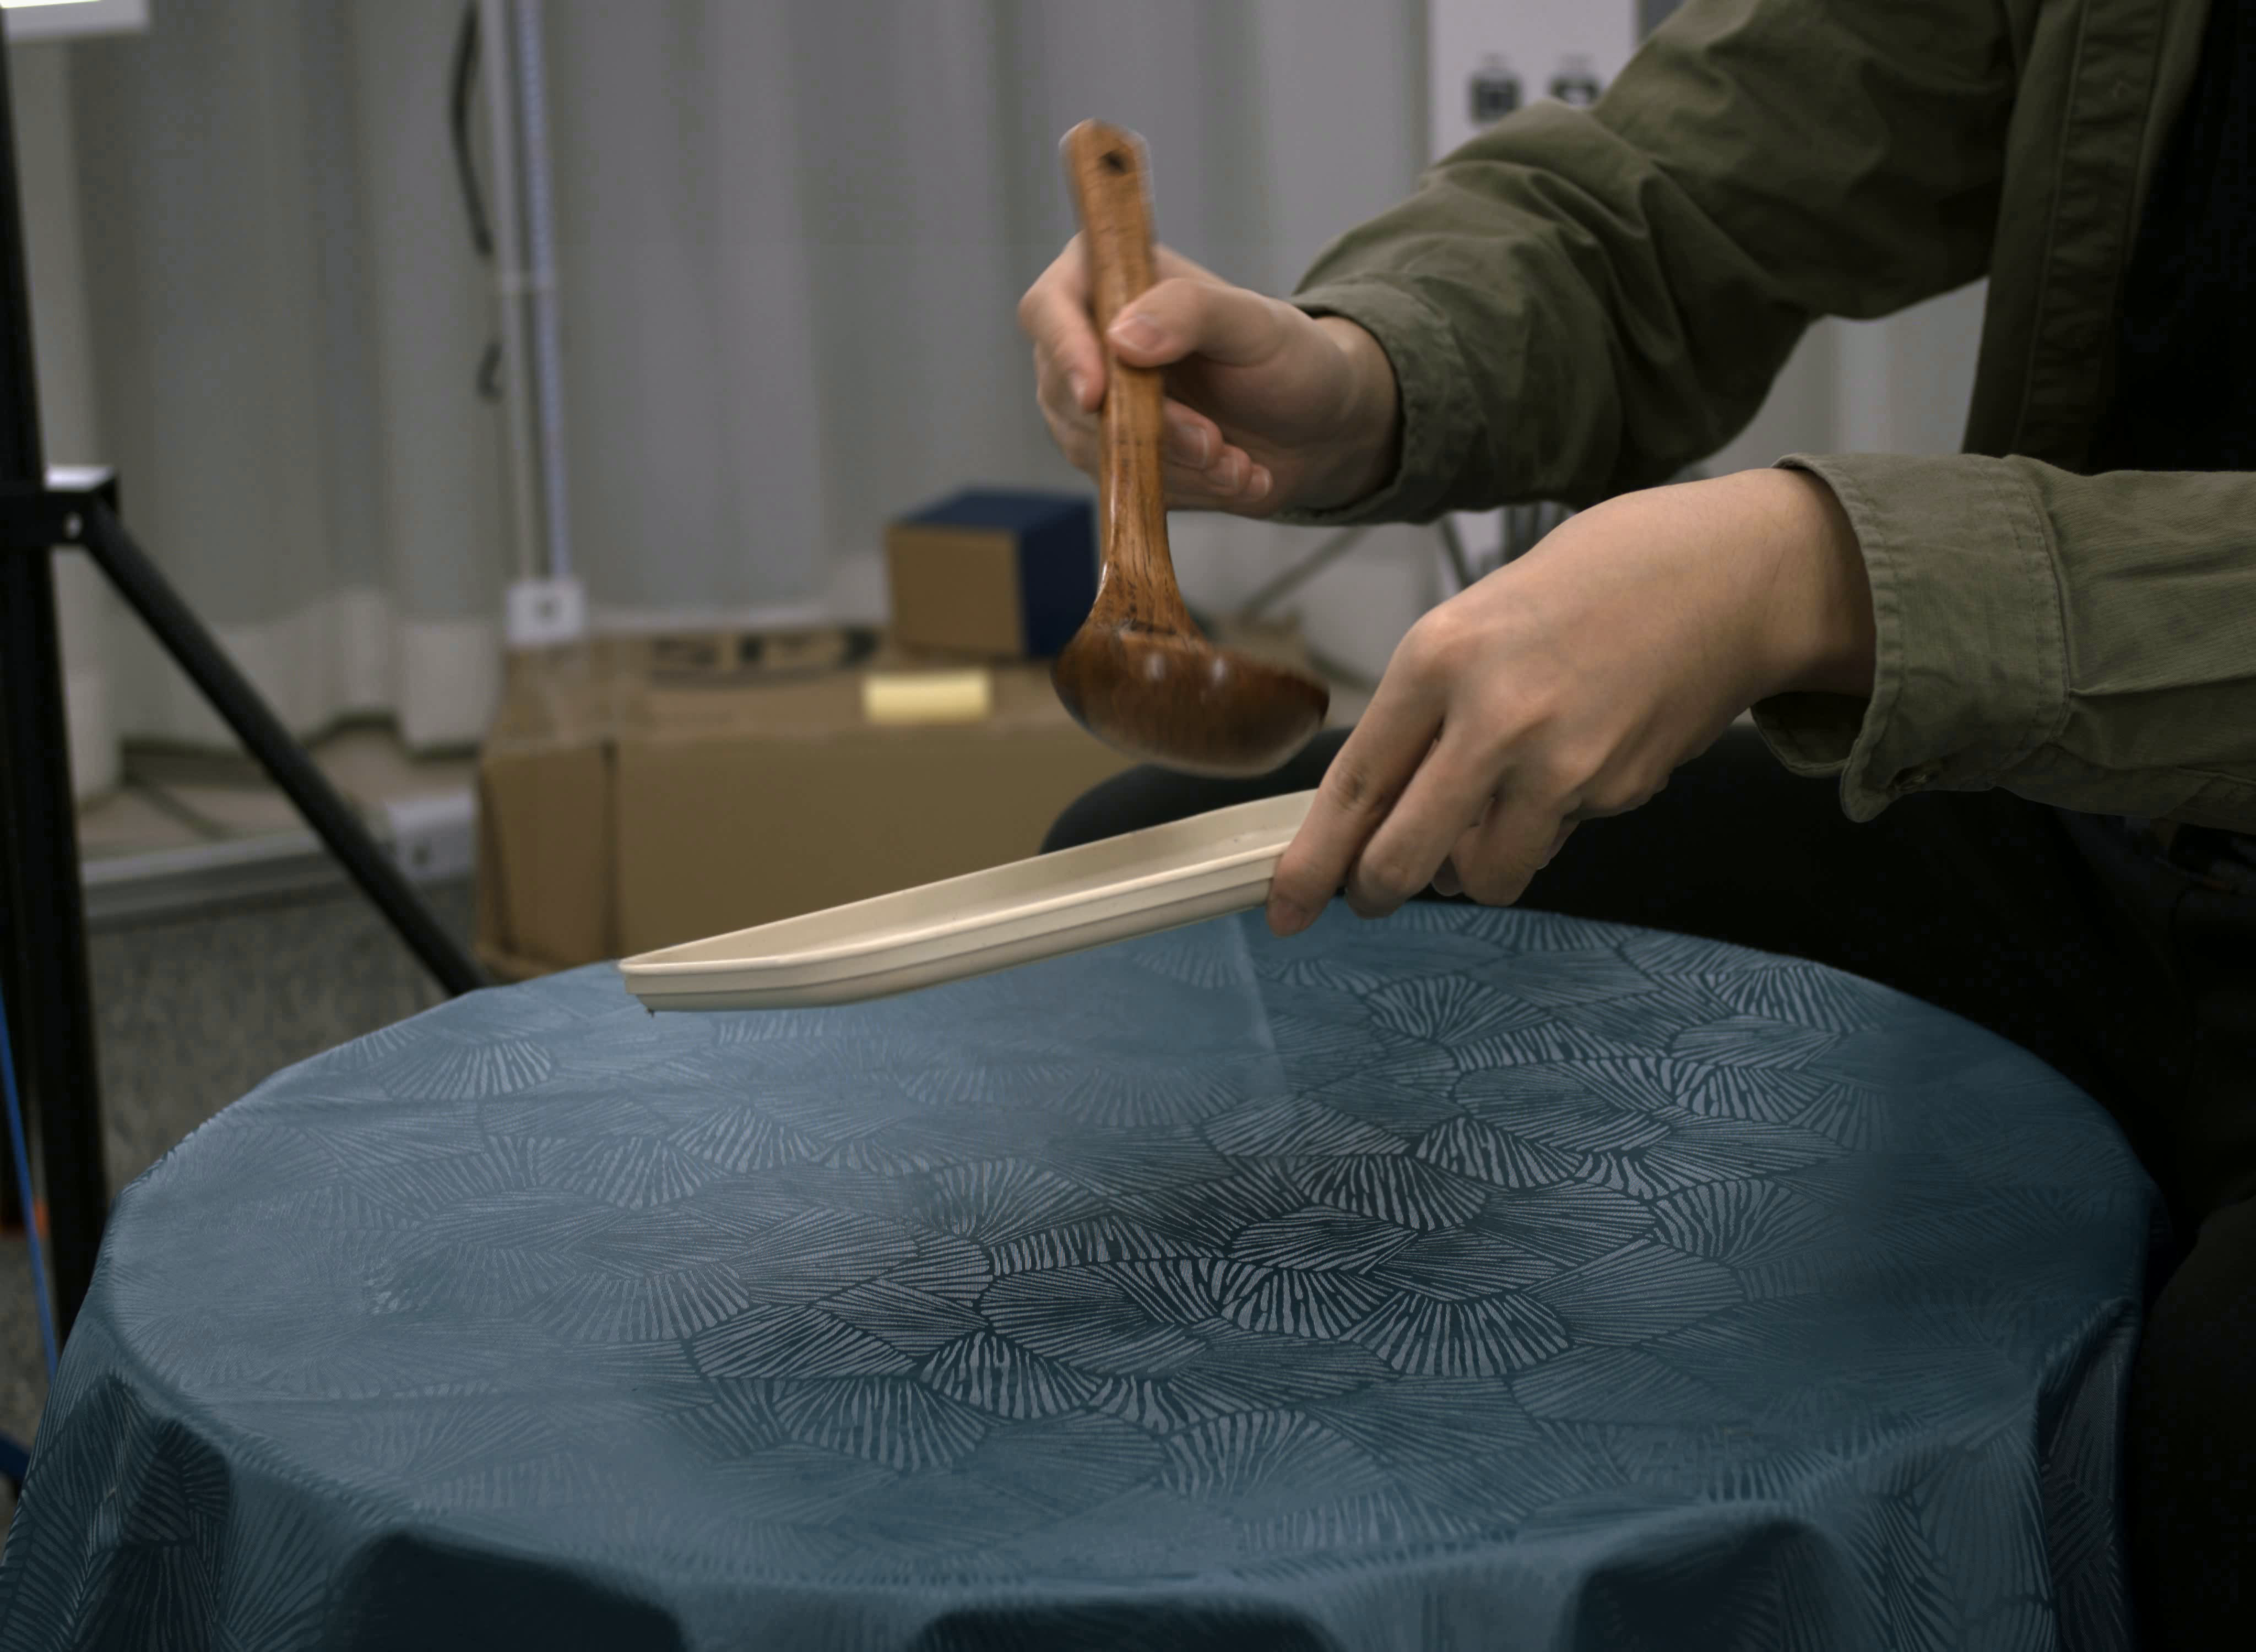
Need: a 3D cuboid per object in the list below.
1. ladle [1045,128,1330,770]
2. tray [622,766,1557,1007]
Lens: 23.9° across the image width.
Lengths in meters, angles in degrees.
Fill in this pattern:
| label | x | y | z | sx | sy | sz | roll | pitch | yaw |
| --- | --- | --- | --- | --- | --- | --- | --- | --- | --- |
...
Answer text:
| label | x | y | z | sx | sy | sz | roll | pitch | yaw |
| --- | --- | --- | --- | --- | --- | --- | --- | --- | --- |
| ladle | 0.015 | -0.124 | 1.552 | 0.080 | 0.077 | 0.277 | 21 | 46 | -23 |
| tray | -0.010 | 0.019 | 1.483 | 0.235 | 0.017 | 0.174 | -14 | 5 | -26 |
